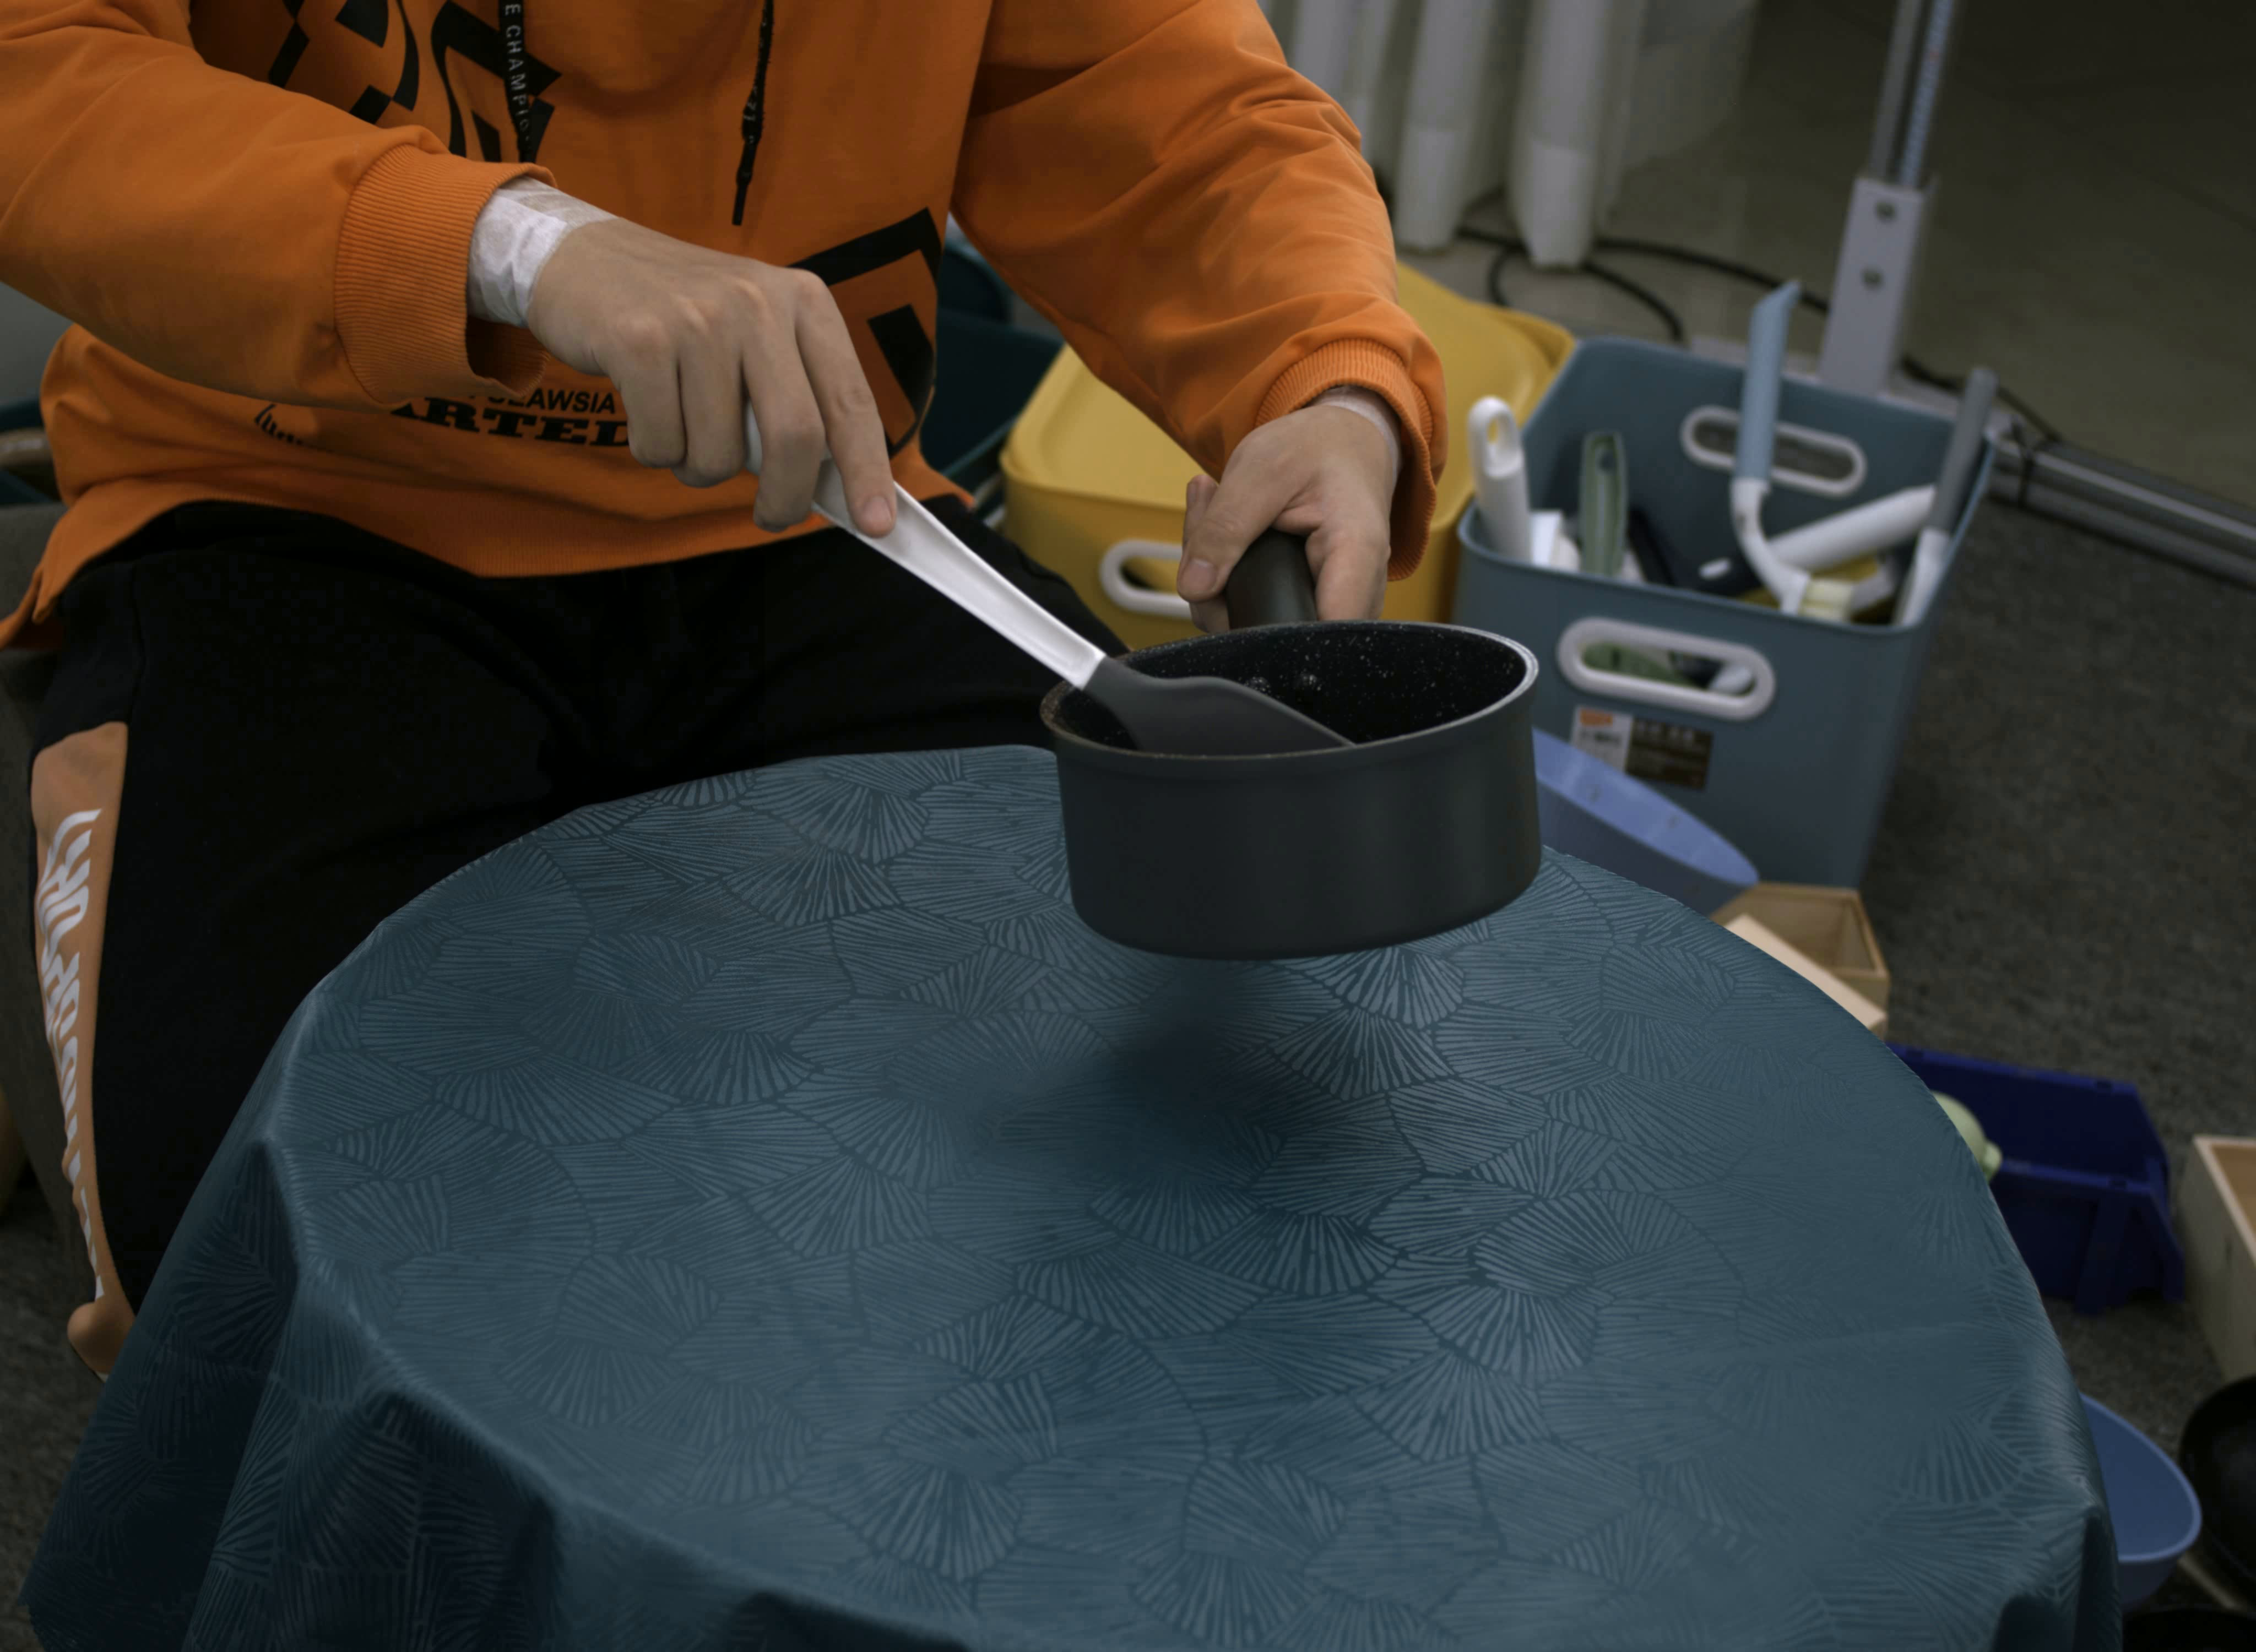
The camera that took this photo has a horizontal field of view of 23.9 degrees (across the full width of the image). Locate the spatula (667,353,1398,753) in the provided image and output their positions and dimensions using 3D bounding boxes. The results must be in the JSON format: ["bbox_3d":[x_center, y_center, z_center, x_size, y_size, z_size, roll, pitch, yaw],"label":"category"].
[{"bbox_3d":[-0.034,-0.078,1.849,0.288,0.058,0.032,32,12,10],"label":"spatula"}]

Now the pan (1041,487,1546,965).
[{"bbox_3d":[0.060,-0.039,1.900,0.171,0.086,0.330,-4,18,3],"label":"pan"}]
